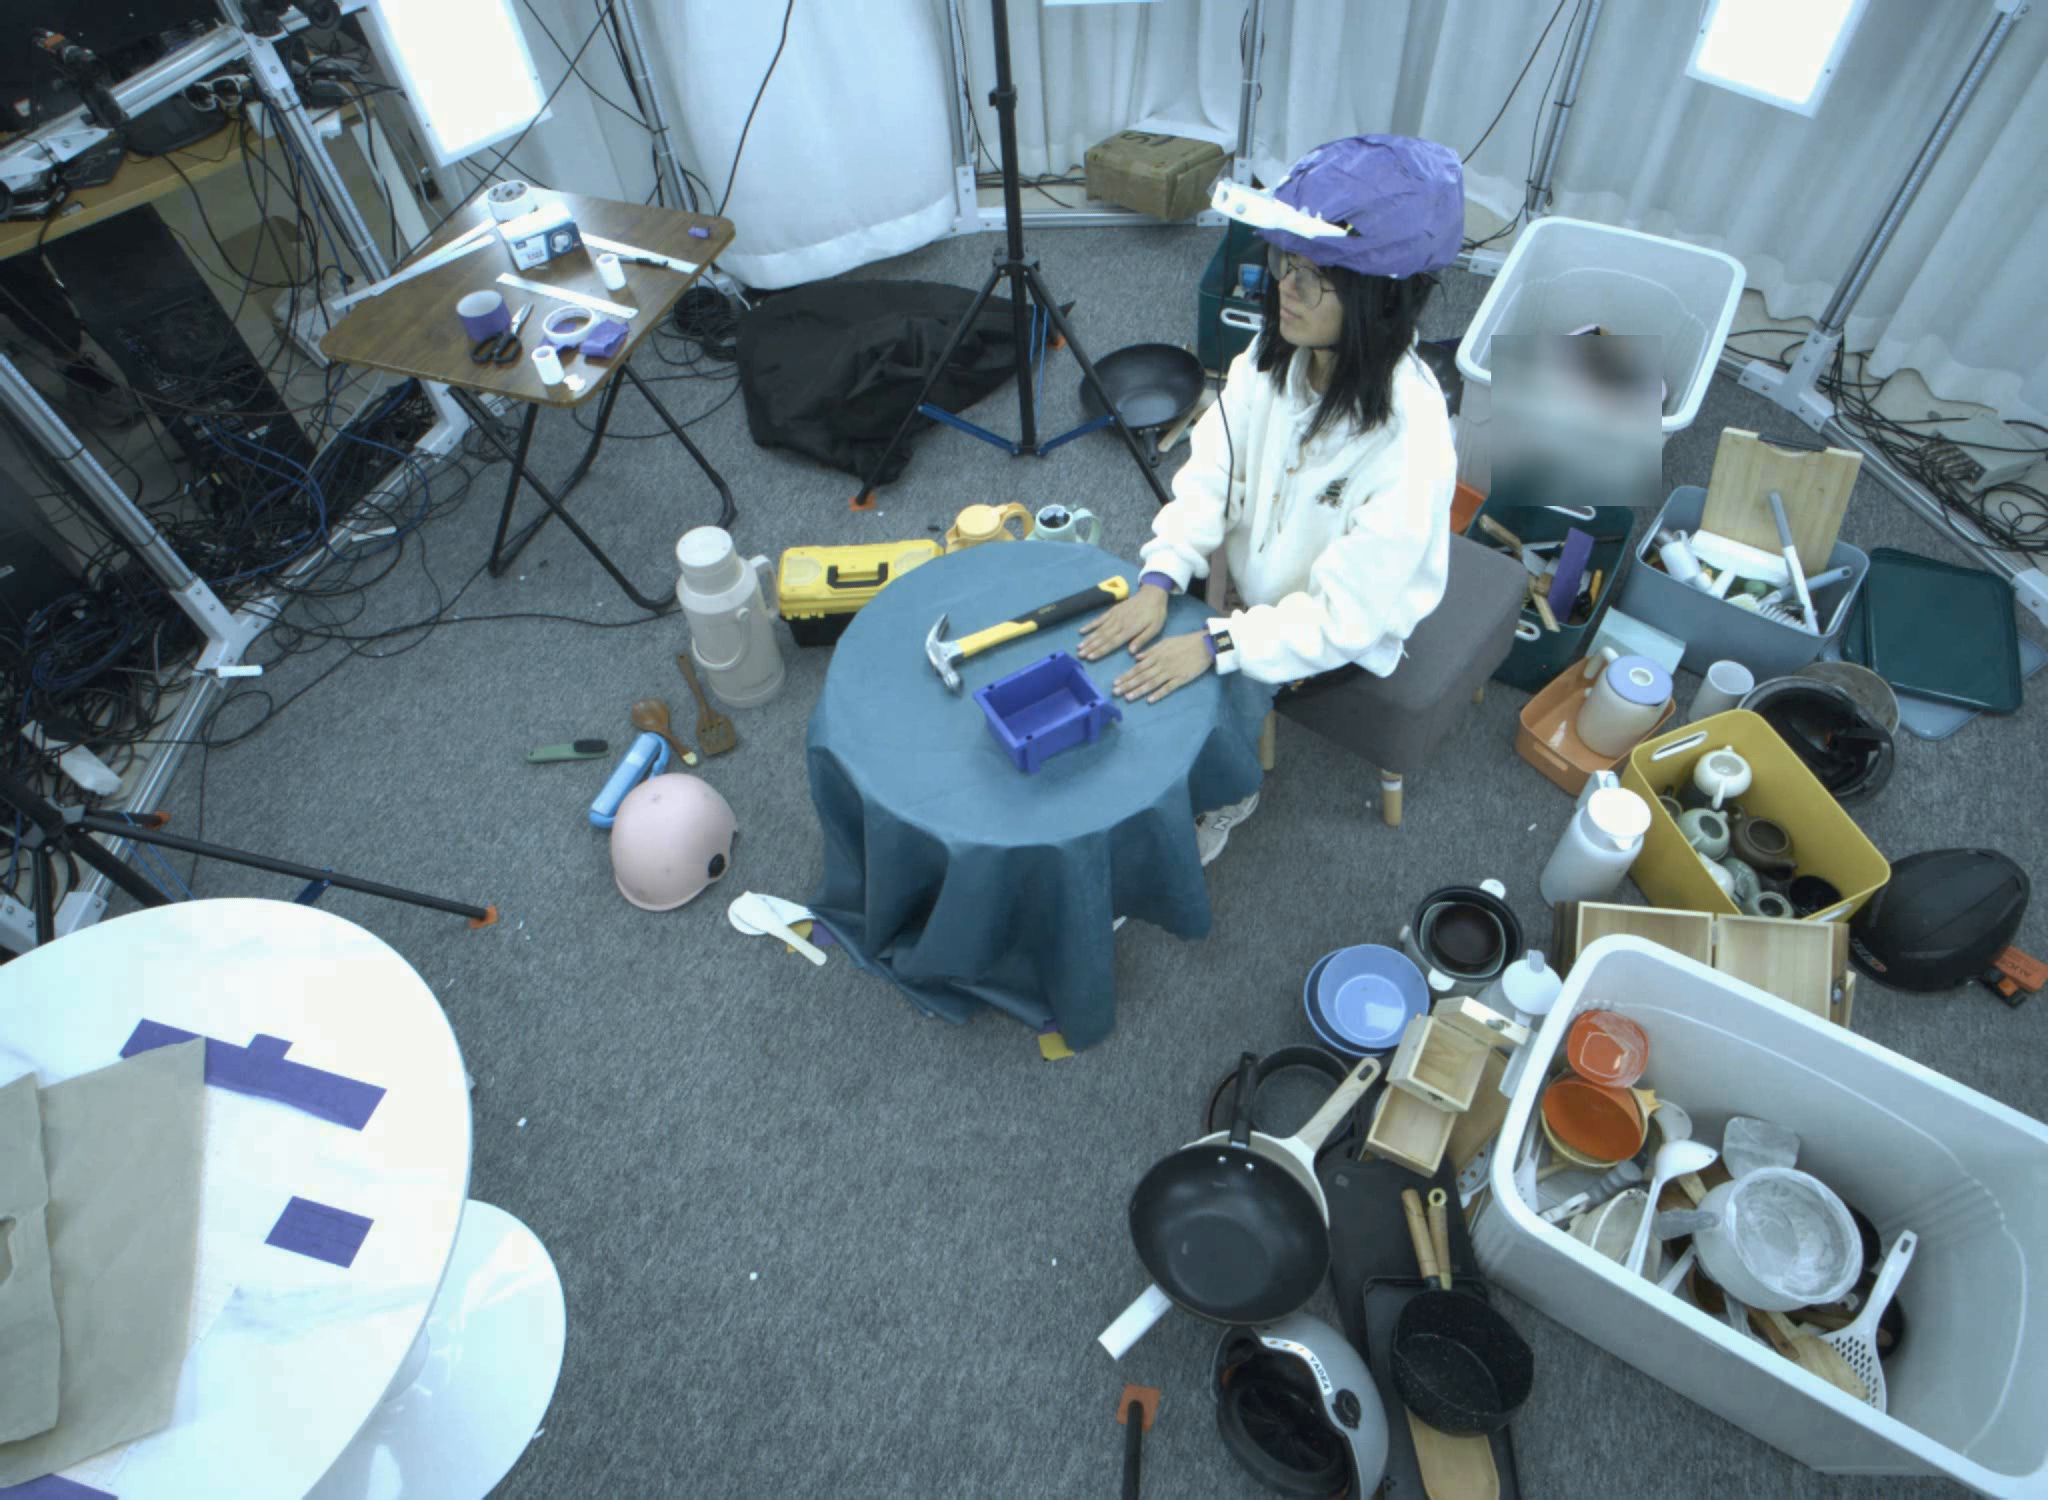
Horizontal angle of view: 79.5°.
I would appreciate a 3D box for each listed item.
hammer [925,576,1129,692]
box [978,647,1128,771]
[{"bbox_3d":[0.008,-0.200,1.908,0.341,0.032,0.129,-22,56,-13],"label":"hammer"},{"bbox_3d":[0.042,-0.063,1.781,0.180,0.083,0.122,-28,58,-14],"label":"box"}]
